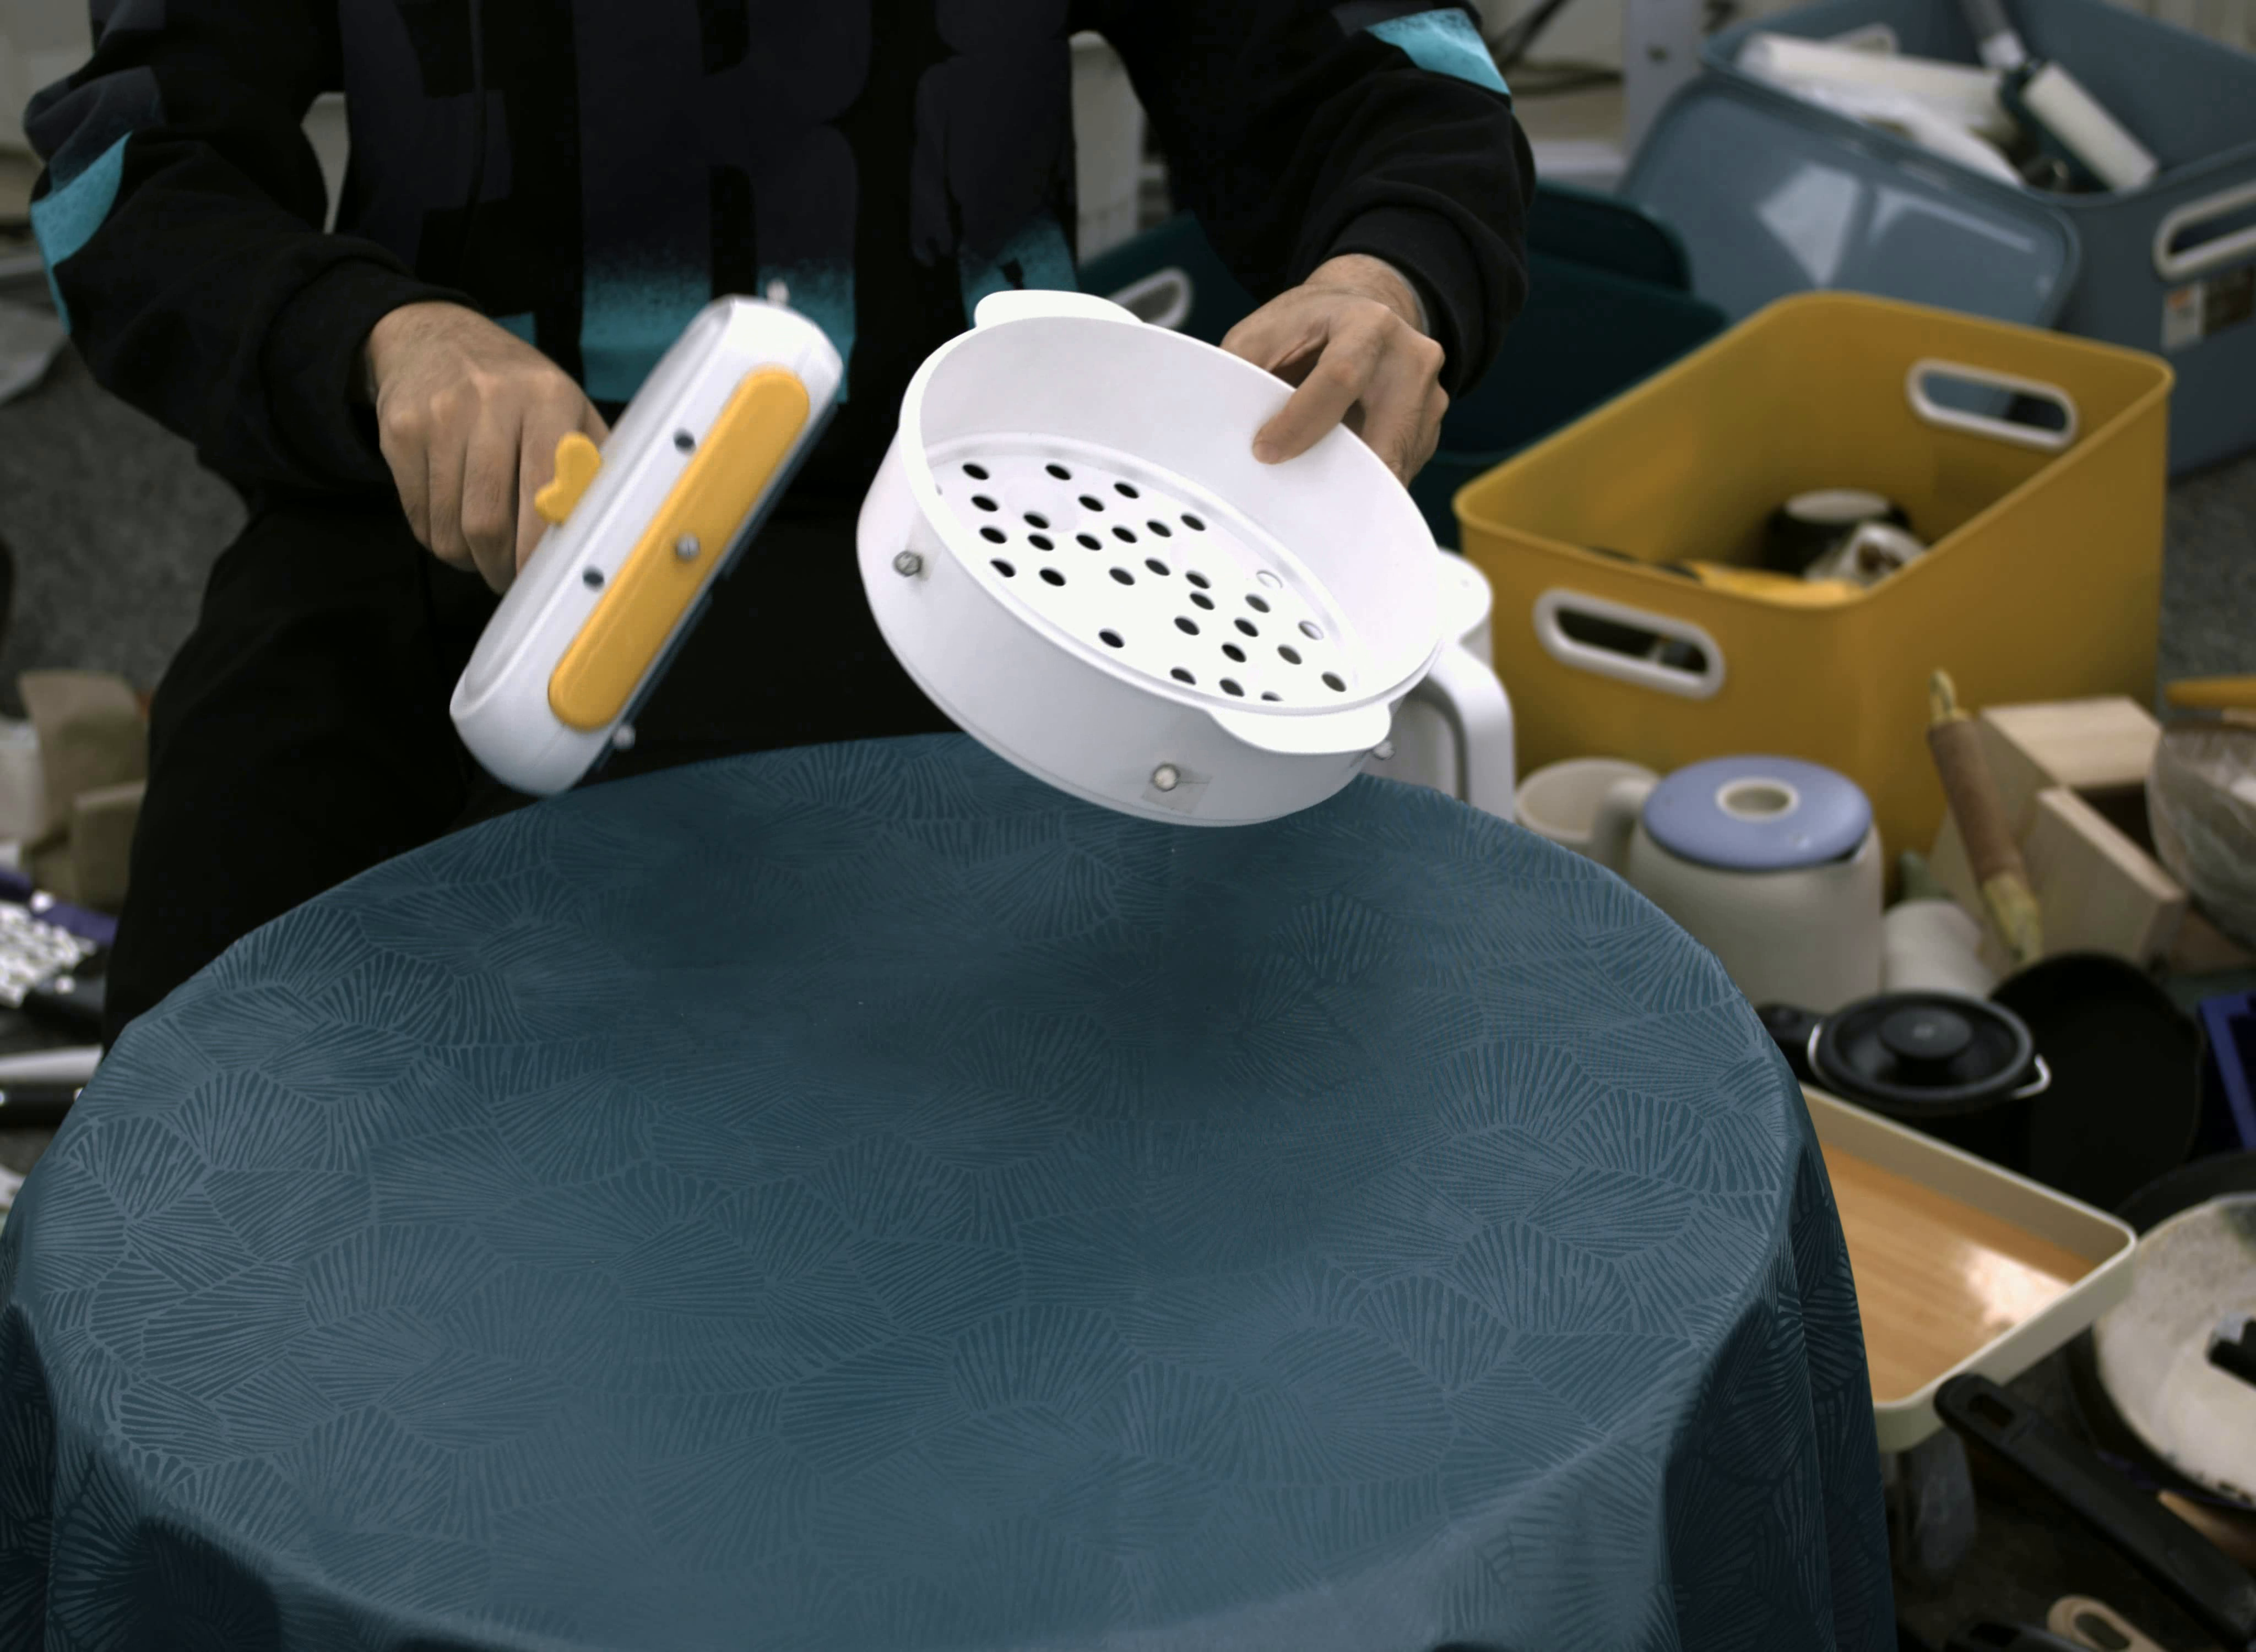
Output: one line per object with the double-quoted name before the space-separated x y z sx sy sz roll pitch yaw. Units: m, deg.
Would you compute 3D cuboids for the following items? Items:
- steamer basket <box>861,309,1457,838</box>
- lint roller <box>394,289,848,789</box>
"steamer basket" 0.009 -0.081 1.904 0.202 0.068 0.233 0 42 -35
"lint roller" -0.199 -0.109 2.011 0.191 0.074 0.195 7 67 59
